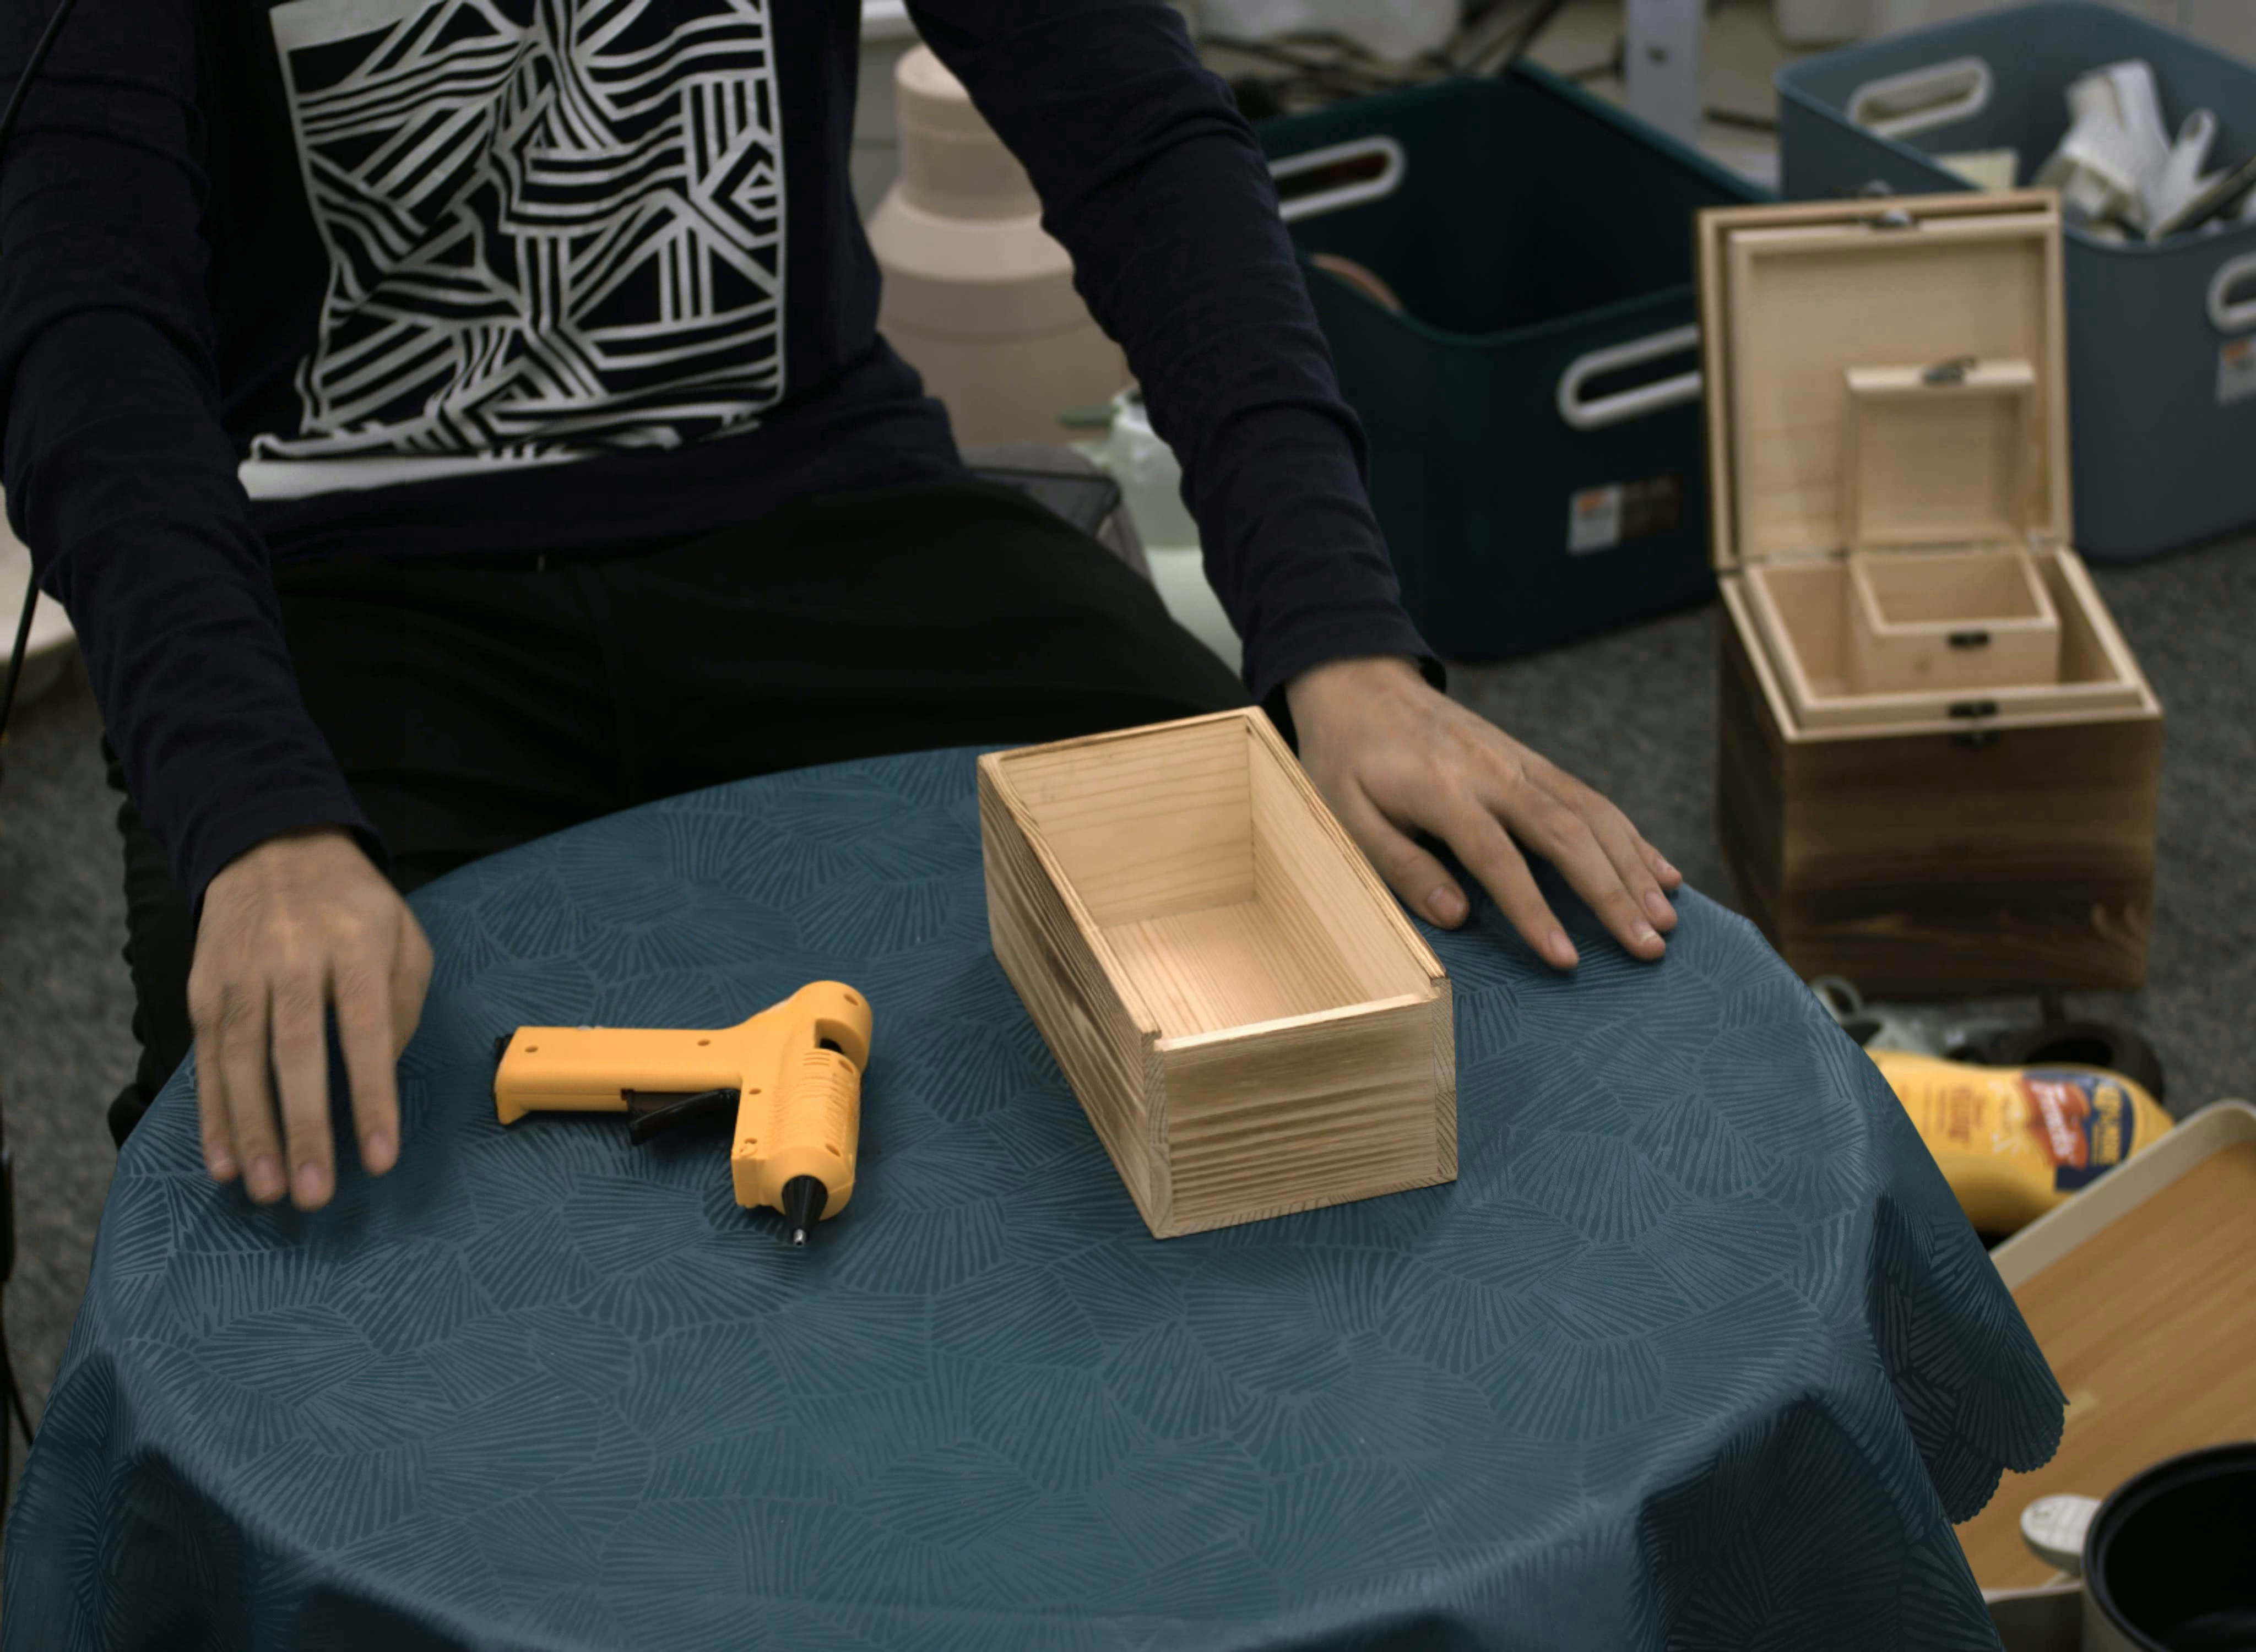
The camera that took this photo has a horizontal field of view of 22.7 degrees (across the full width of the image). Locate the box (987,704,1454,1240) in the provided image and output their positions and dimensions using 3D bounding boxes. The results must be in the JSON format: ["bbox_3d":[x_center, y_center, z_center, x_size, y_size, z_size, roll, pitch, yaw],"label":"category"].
[{"bbox_3d":[0.029,0.046,1.923,0.107,0.079,0.213,-9,29,-12],"label":"box"}]

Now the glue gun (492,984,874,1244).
[{"bbox_3d":[-0.149,0.105,1.886,0.132,0.031,0.153,-5,27,-3],"label":"glue gun"}]
